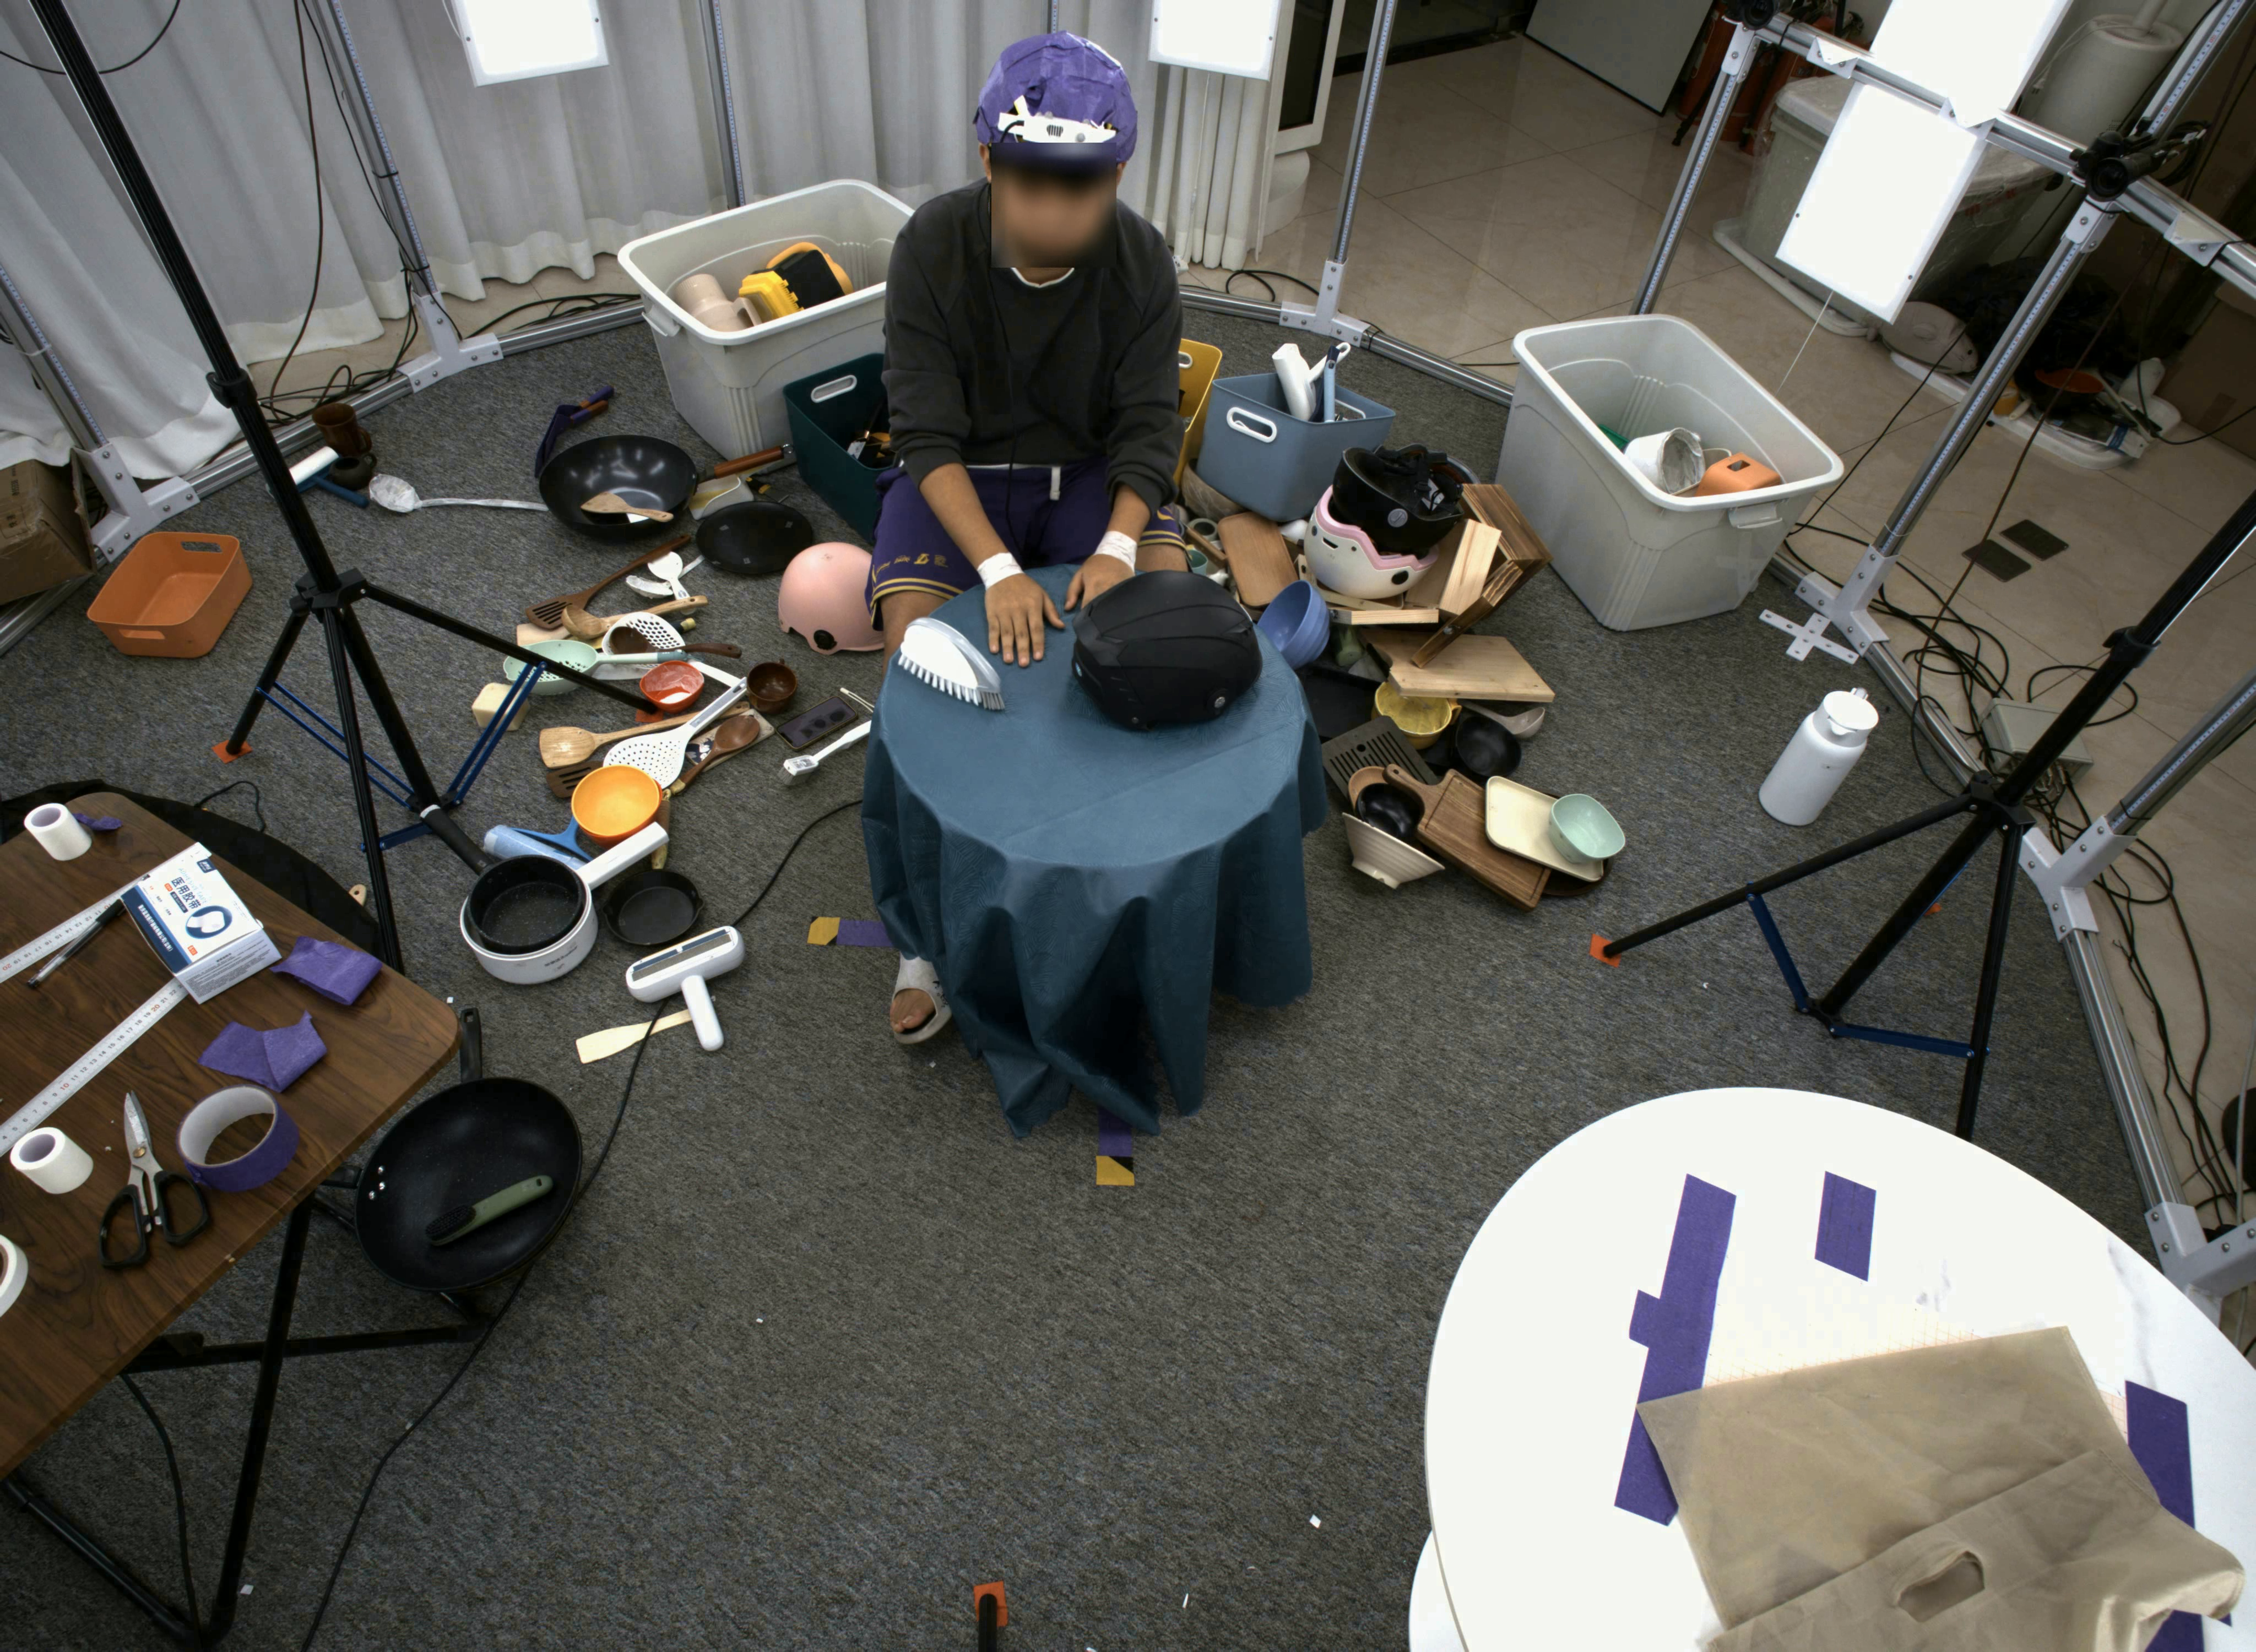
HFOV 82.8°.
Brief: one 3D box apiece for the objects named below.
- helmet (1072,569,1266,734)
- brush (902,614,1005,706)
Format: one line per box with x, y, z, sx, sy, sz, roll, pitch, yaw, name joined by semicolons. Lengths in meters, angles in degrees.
0.057;-0.265;1.798;0.277;0.168;0.252;-17;53;-13;helmet
-0.240;-0.237;1.797;0.177;0.092;0.062;33;59;20;brush
